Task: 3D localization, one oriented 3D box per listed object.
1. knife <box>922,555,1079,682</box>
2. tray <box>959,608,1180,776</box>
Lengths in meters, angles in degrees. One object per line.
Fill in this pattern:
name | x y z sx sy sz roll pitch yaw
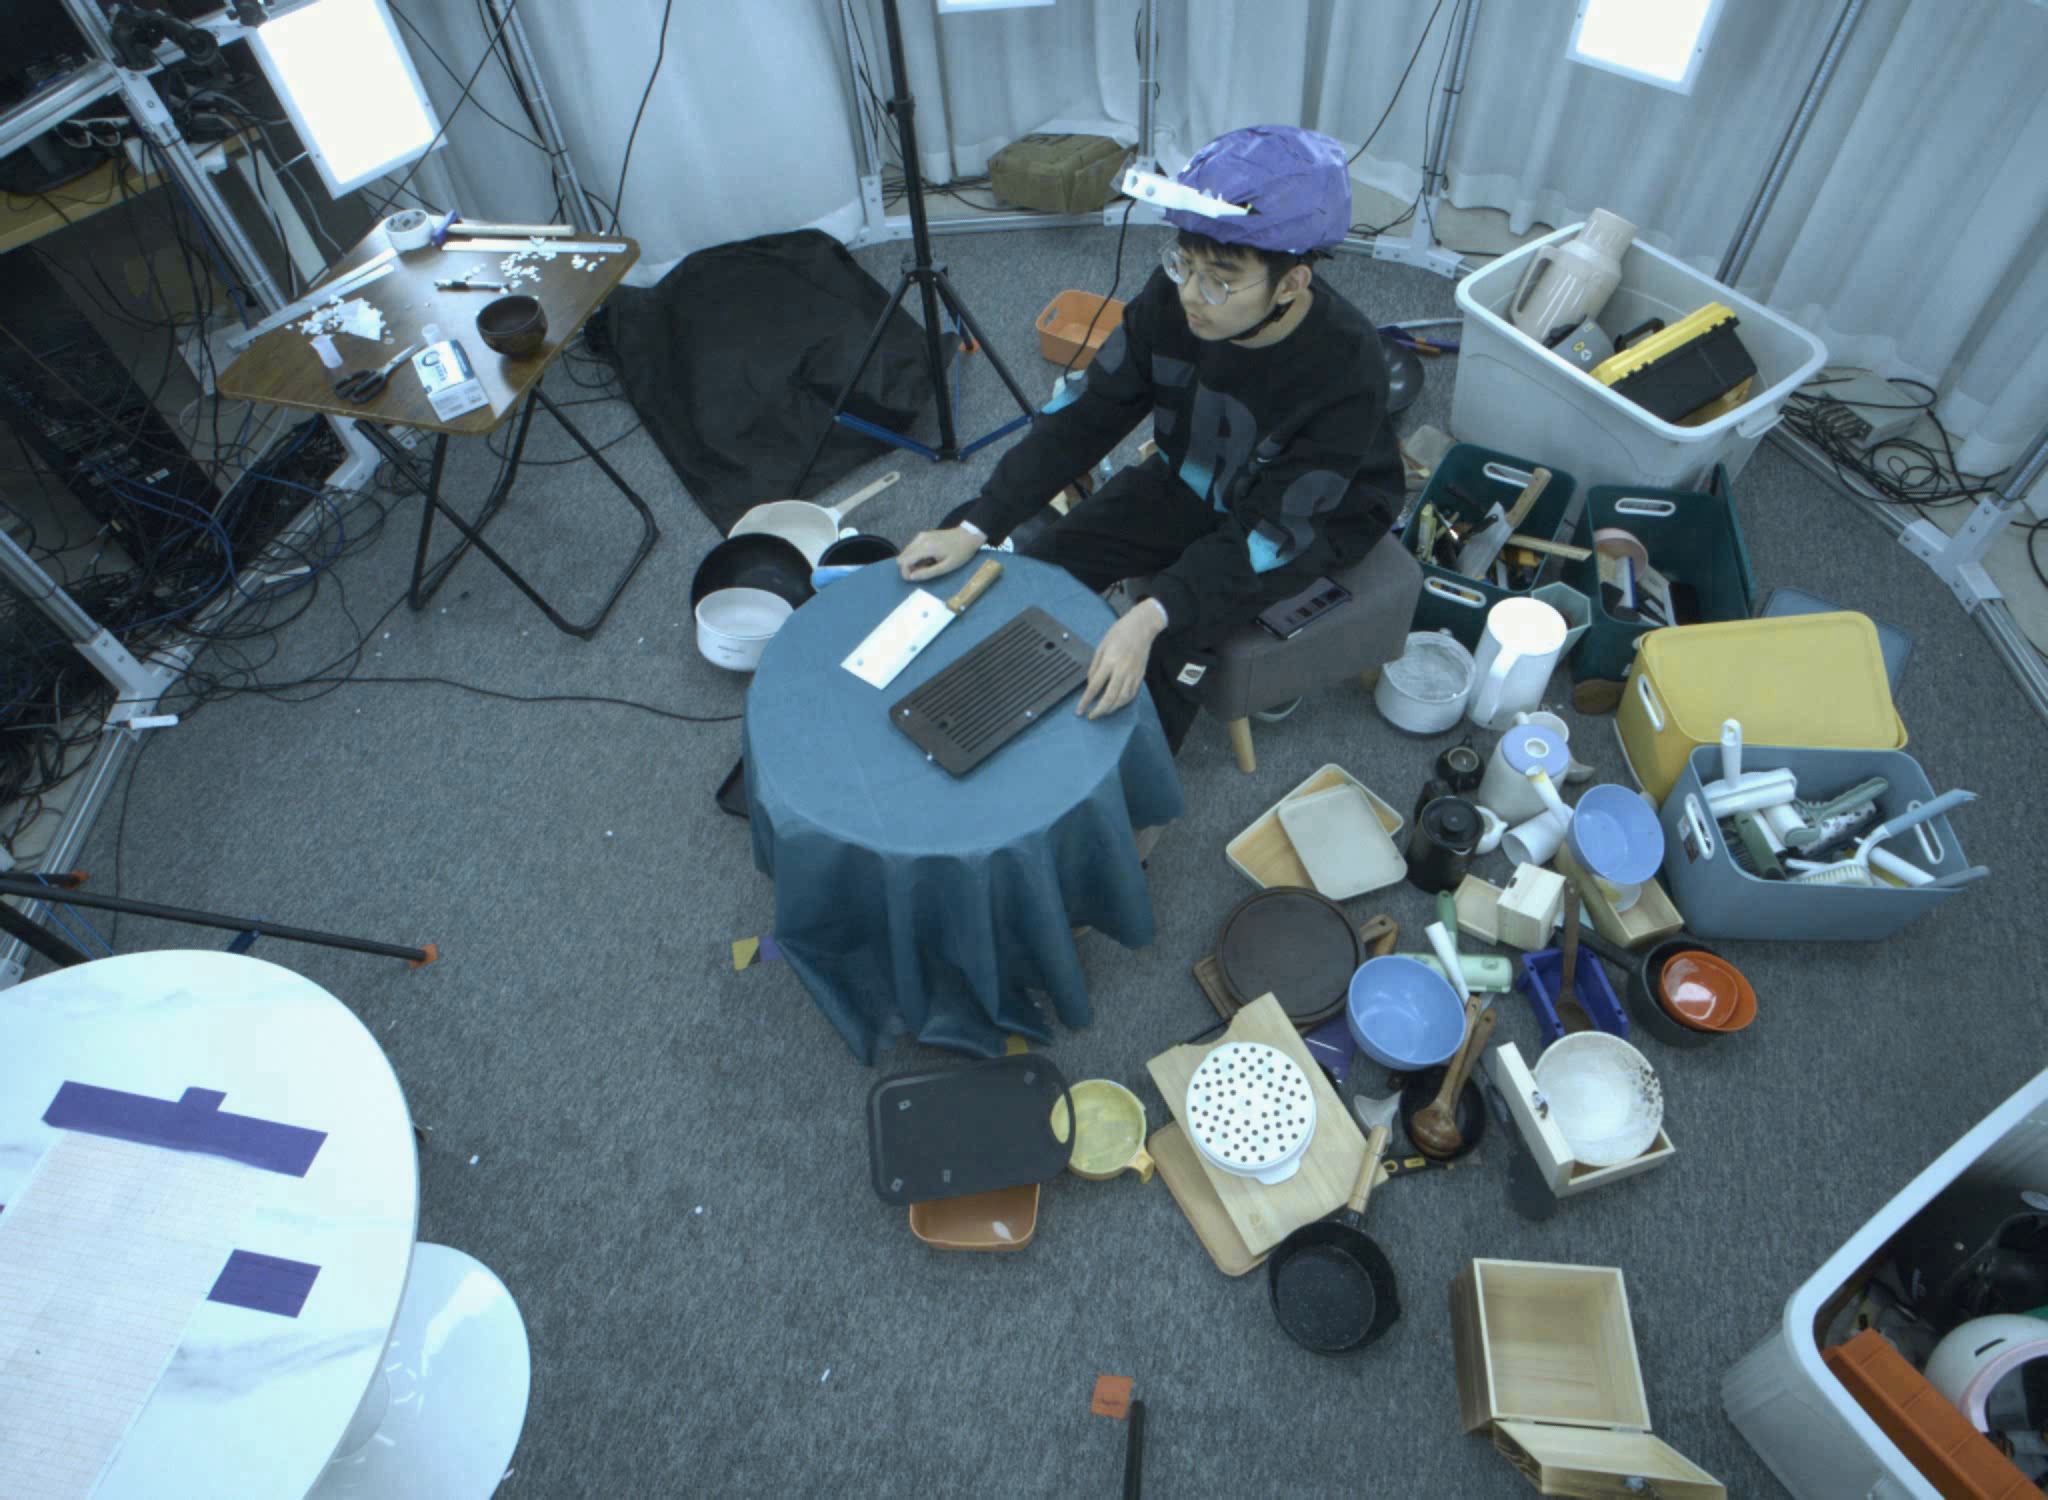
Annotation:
knife | -0.040 -0.220 1.935 0.091 0.021 0.307 35 65 25
tray | 0.069 -0.090 1.837 0.308 0.019 0.167 -34 60 -20
